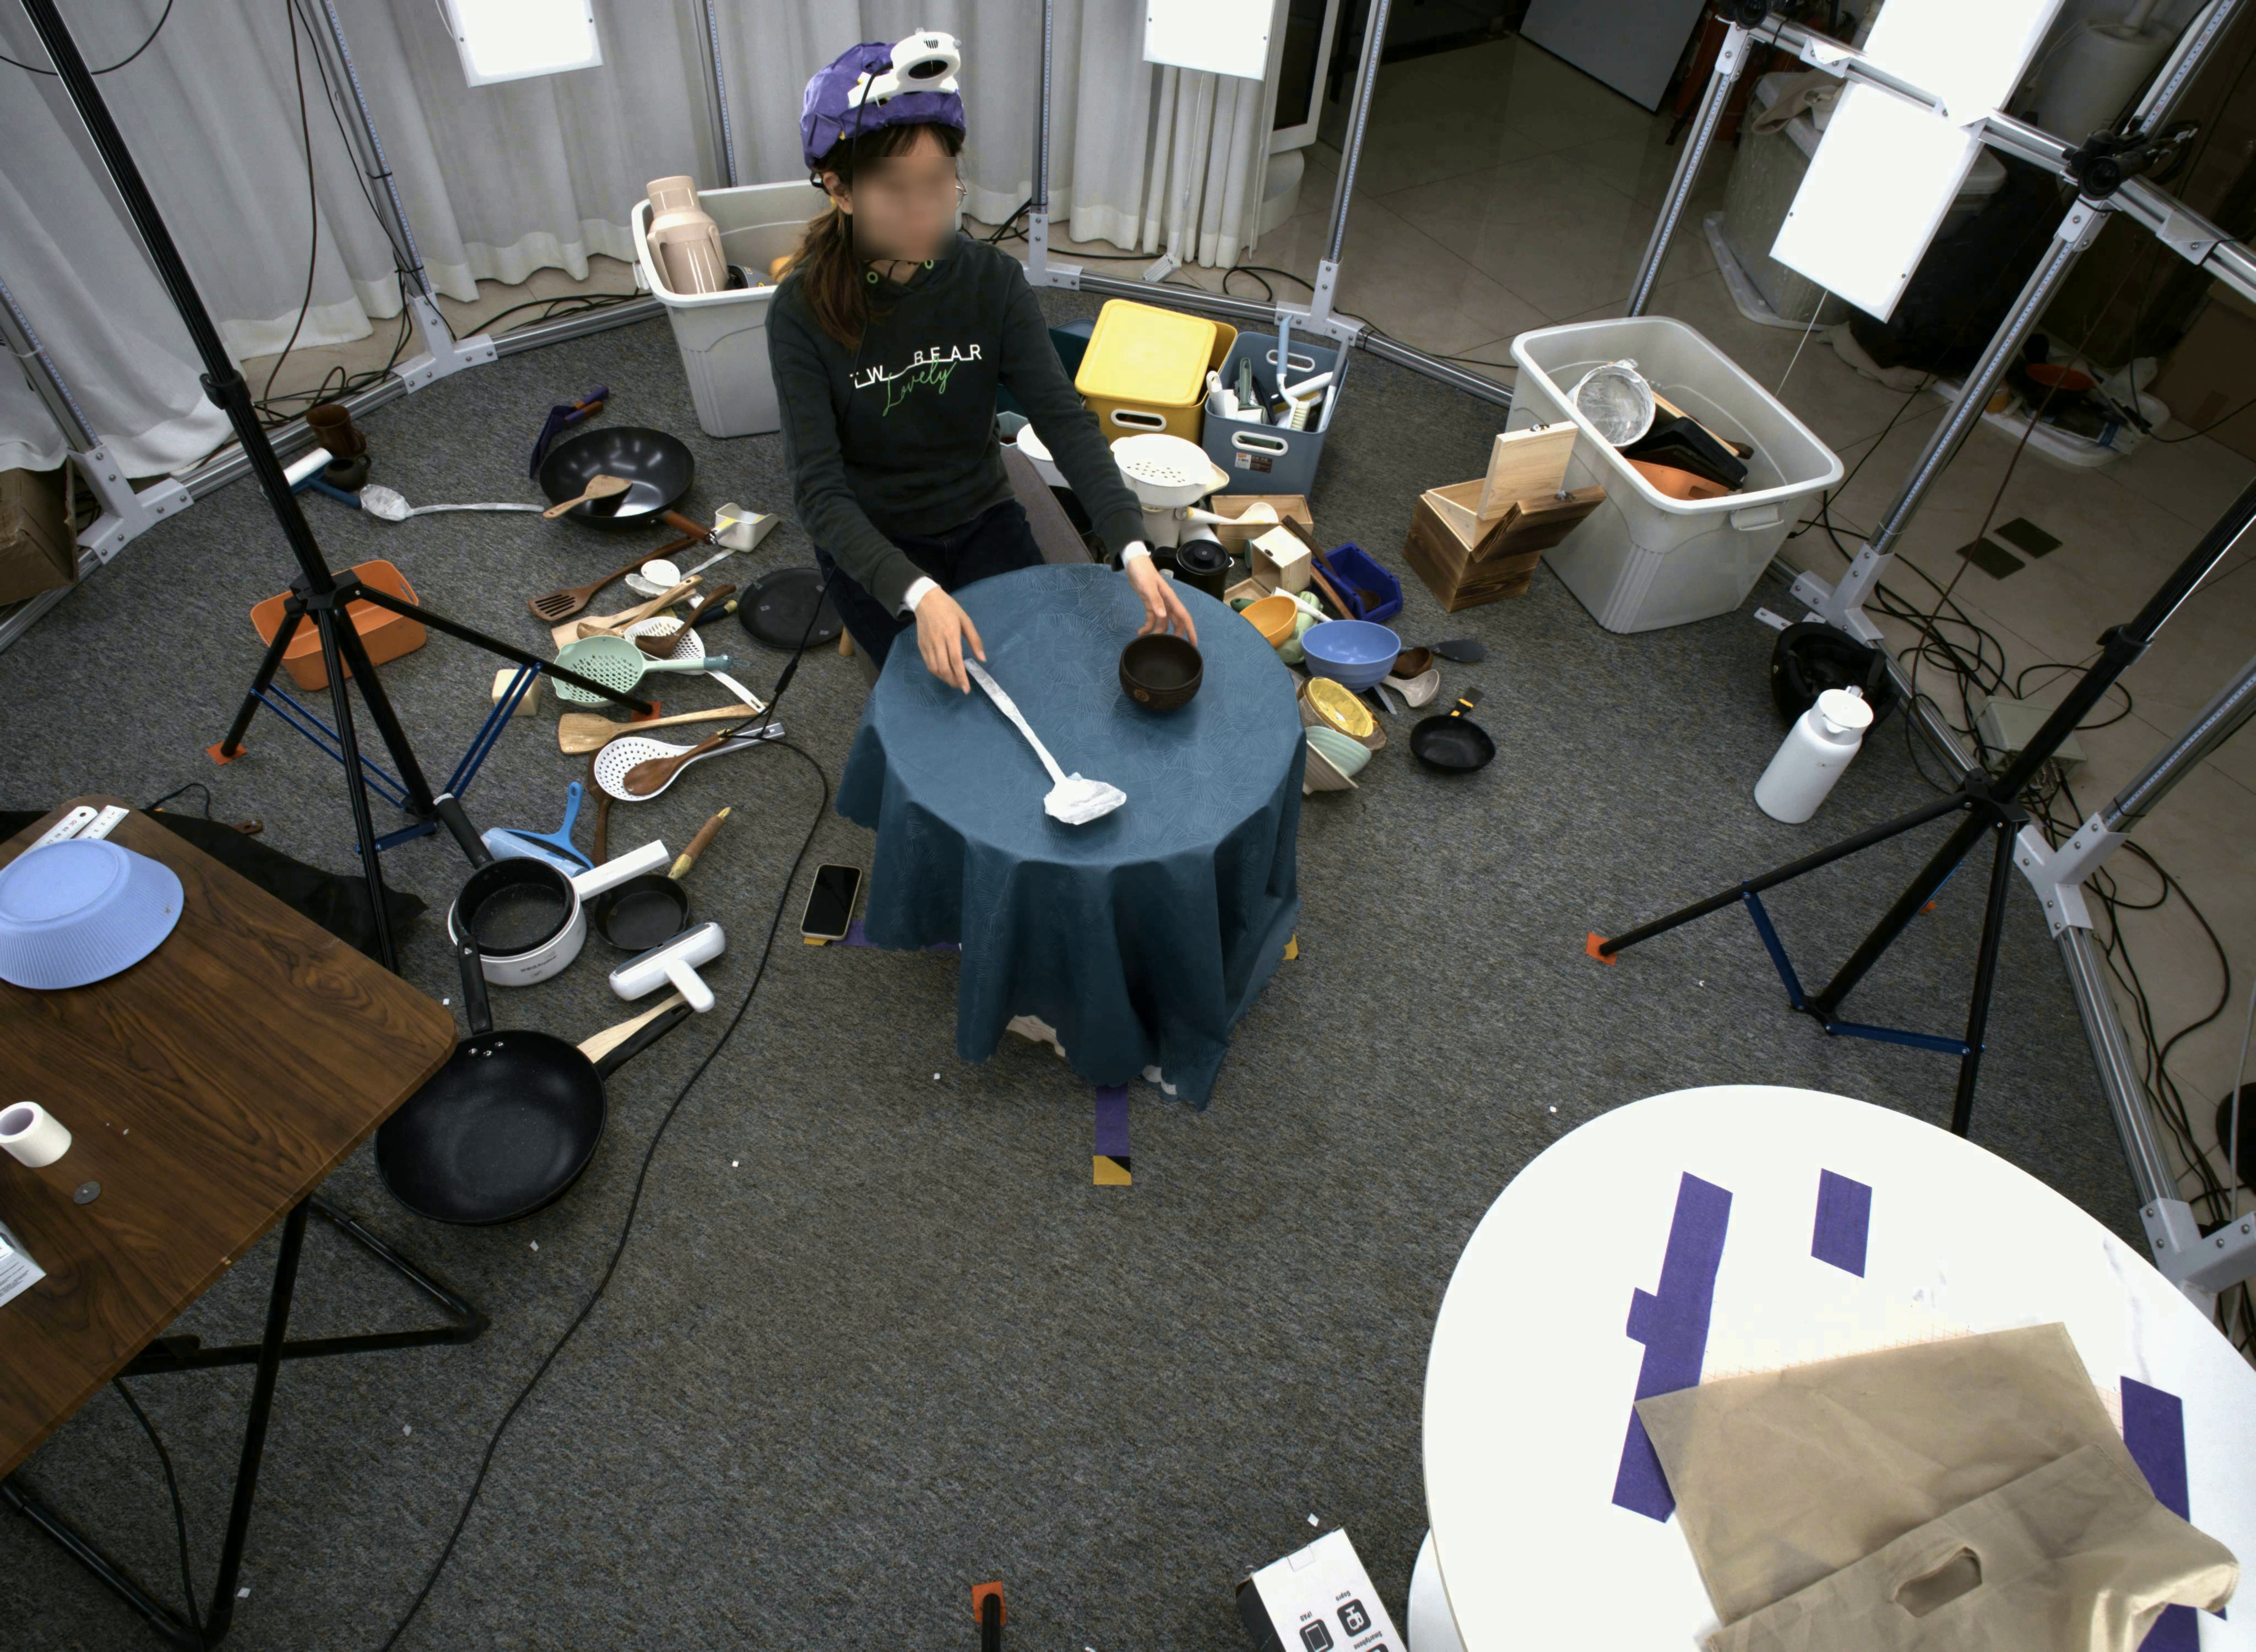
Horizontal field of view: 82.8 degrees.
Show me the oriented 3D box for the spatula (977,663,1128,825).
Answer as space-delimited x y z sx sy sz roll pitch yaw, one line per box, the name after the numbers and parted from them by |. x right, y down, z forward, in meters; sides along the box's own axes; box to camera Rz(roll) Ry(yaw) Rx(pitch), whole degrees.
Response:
-0.126 -0.123 1.758 0.099 0.043 0.372 -23 54 -20 | spatula

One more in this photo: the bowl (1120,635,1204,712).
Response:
0.046 -0.208 1.823 0.118 0.068 0.121 3 47 -3 | bowl
